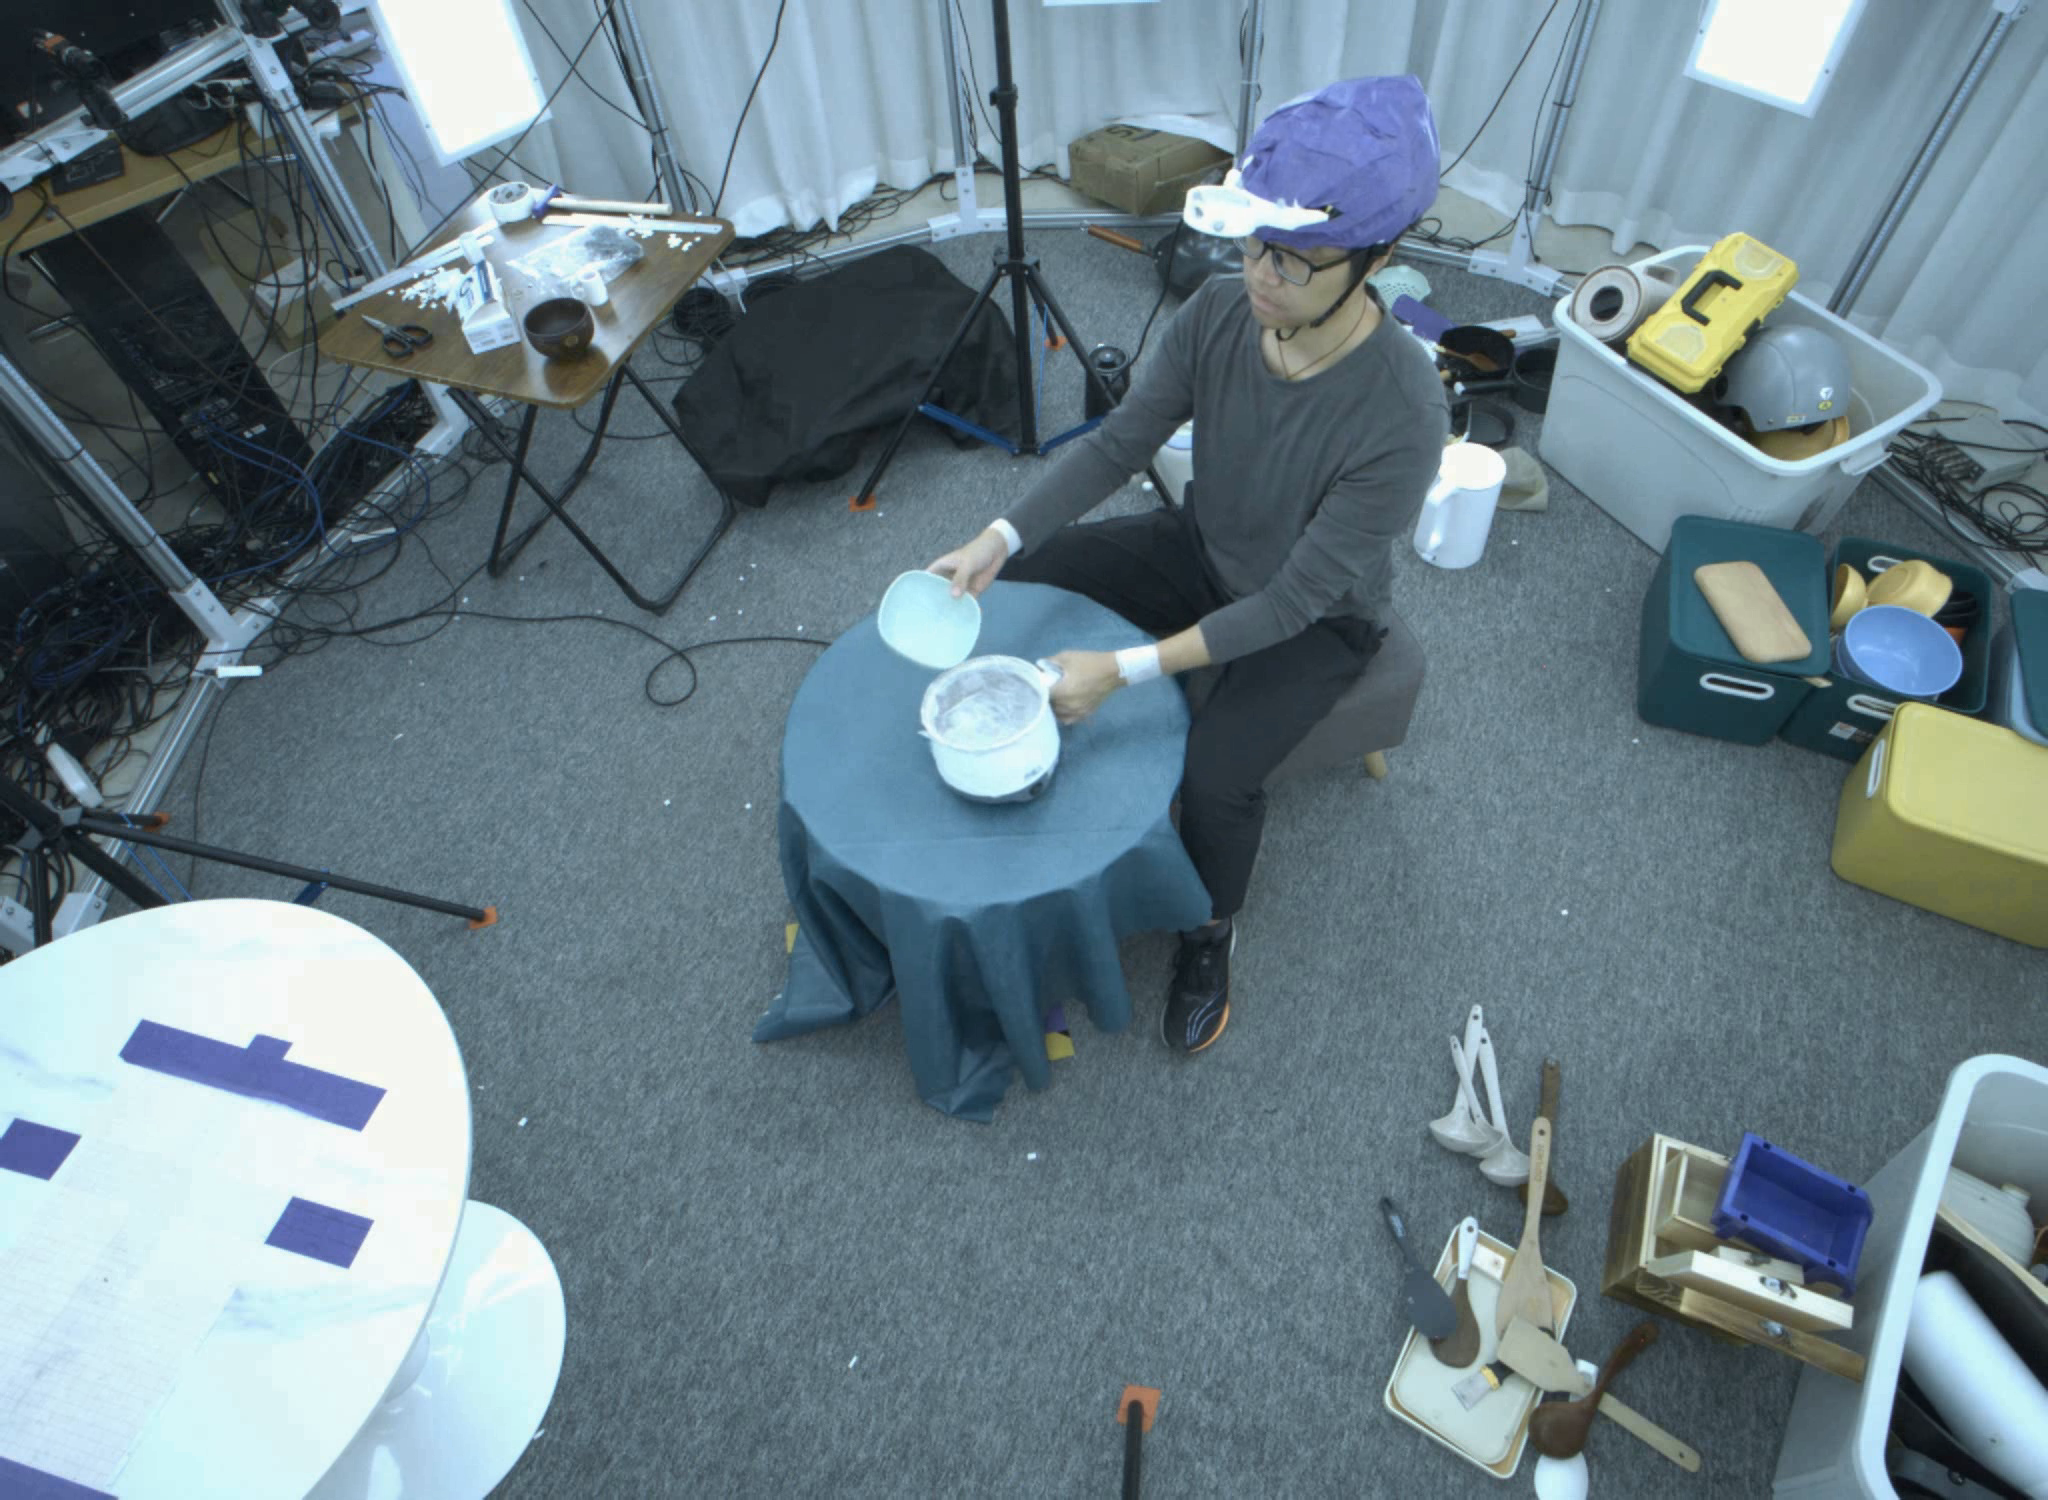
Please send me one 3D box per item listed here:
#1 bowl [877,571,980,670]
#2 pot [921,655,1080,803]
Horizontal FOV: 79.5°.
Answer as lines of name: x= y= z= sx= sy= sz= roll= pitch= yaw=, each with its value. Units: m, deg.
bowl: x=-0.139 y=-0.172 z=1.711 sx=0.153 sy=0.058 sz=0.150 roll=7 pitch=69 yaw=-18
pot: x=-0.023 y=-0.041 z=1.730 sx=0.235 sy=0.138 sz=0.175 roll=-36 pitch=53 yaw=-20
